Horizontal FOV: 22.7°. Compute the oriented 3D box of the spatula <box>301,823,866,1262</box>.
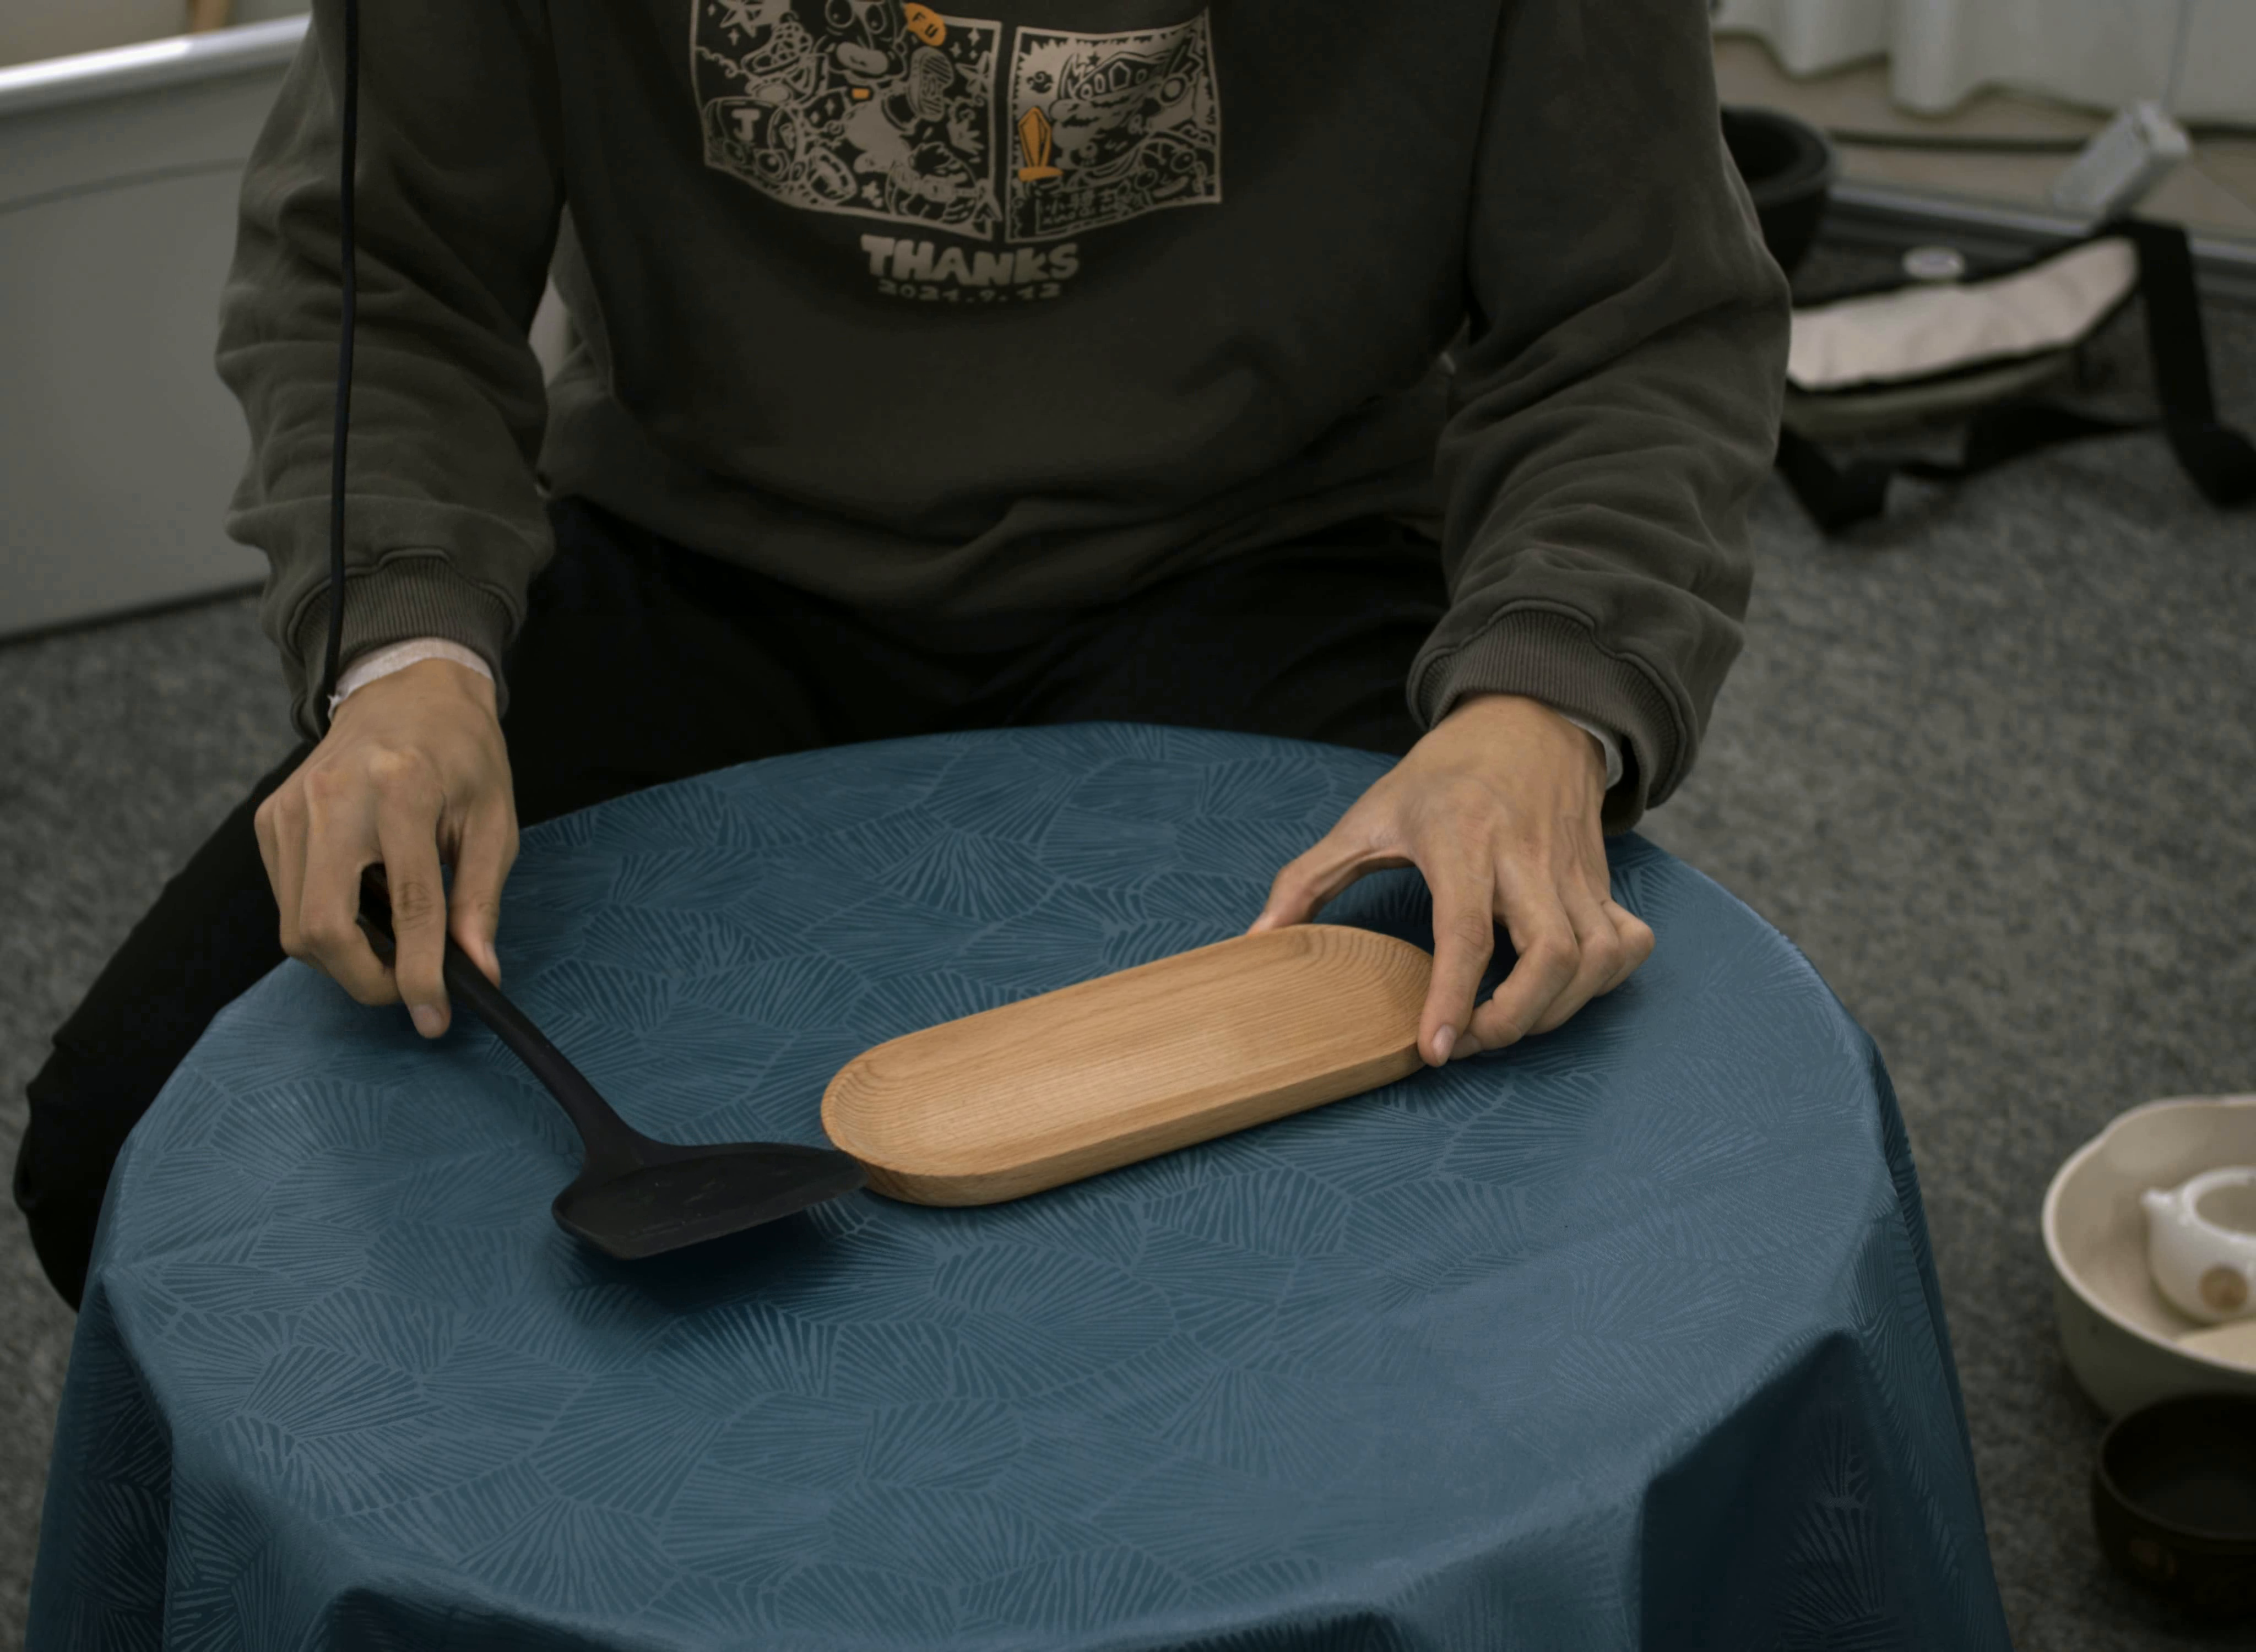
[{"bbox_3d":[-0.209,0.067,1.925,0.100,0.040,0.328,-14,36,-30],"label":"spatula"}]

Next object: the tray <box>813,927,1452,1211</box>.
[{"bbox_3d":[0.003,0.083,1.917,0.232,0.020,0.102,-17,30,-22],"label":"tray"}]
